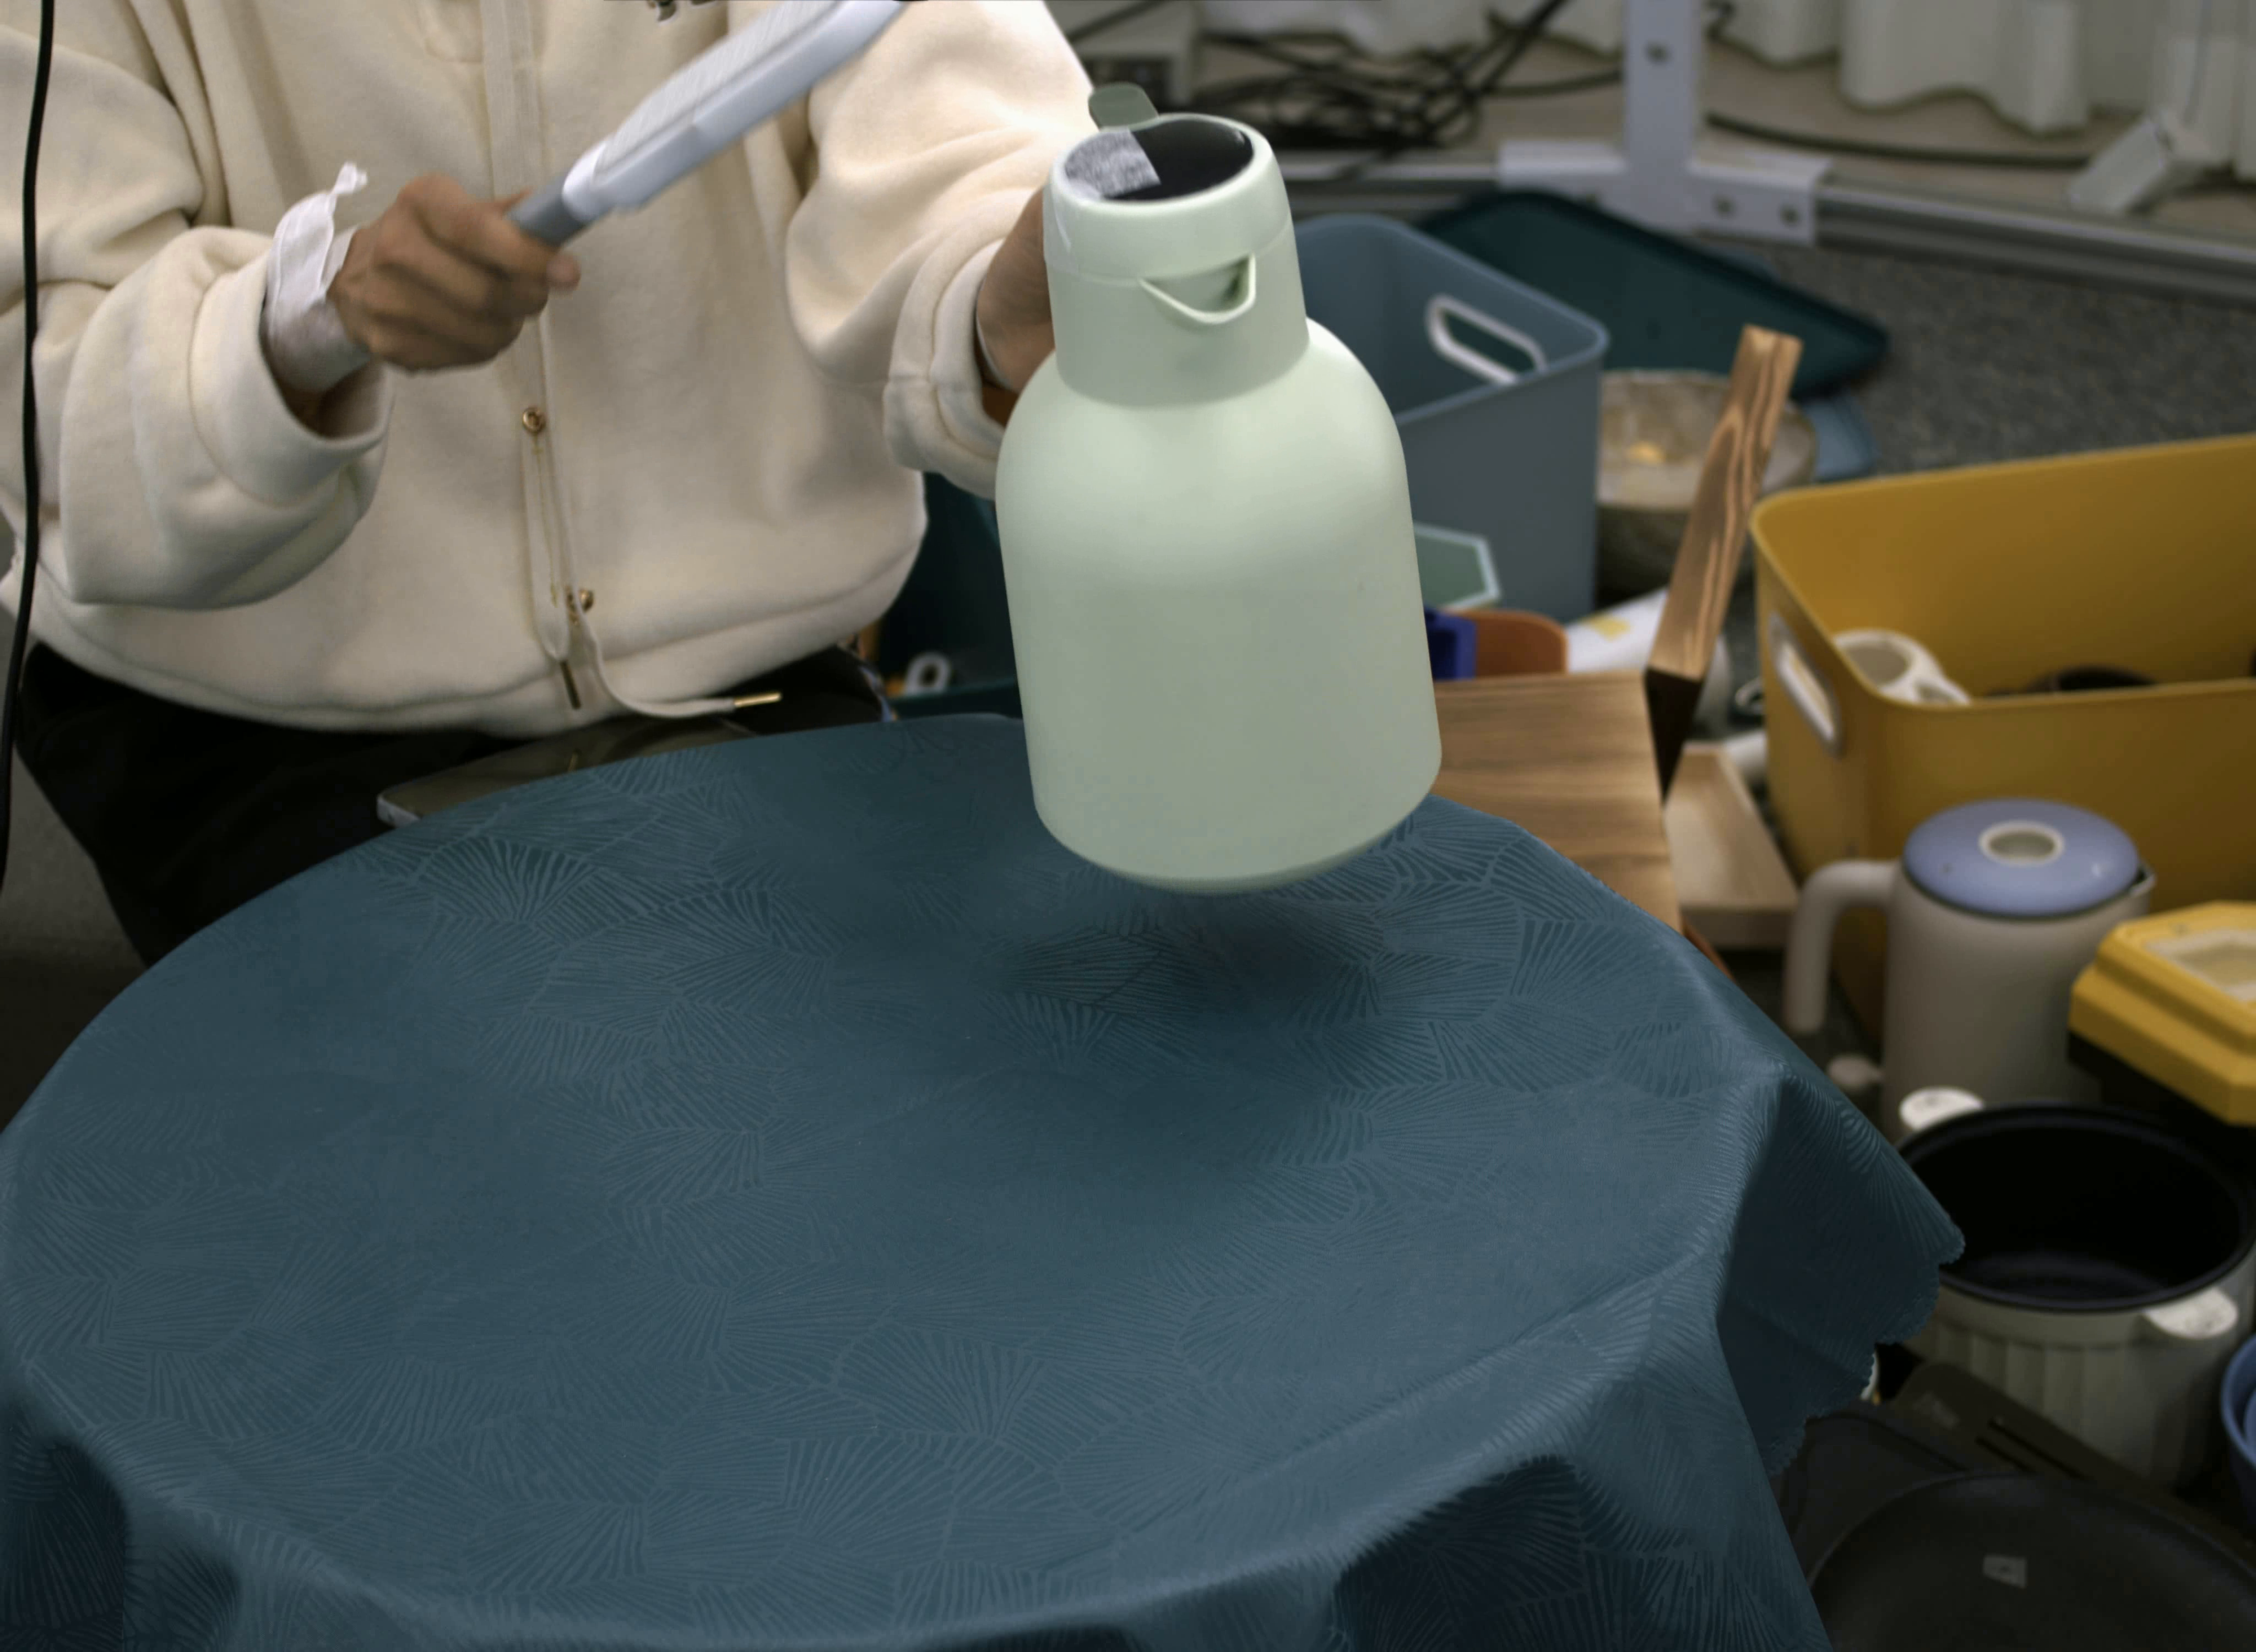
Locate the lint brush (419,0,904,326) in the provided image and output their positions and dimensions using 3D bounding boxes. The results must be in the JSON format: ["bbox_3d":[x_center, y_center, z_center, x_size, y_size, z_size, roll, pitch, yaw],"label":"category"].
[{"bbox_3d":[-0.159,-0.228,1.899,0.304,0.021,0.061,-25,30,51],"label":"lint brush"}]

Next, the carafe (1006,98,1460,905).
[{"bbox_3d":[0.024,-0.117,1.938,0.144,0.254,0.188,-15,26,-9],"label":"carafe"}]
